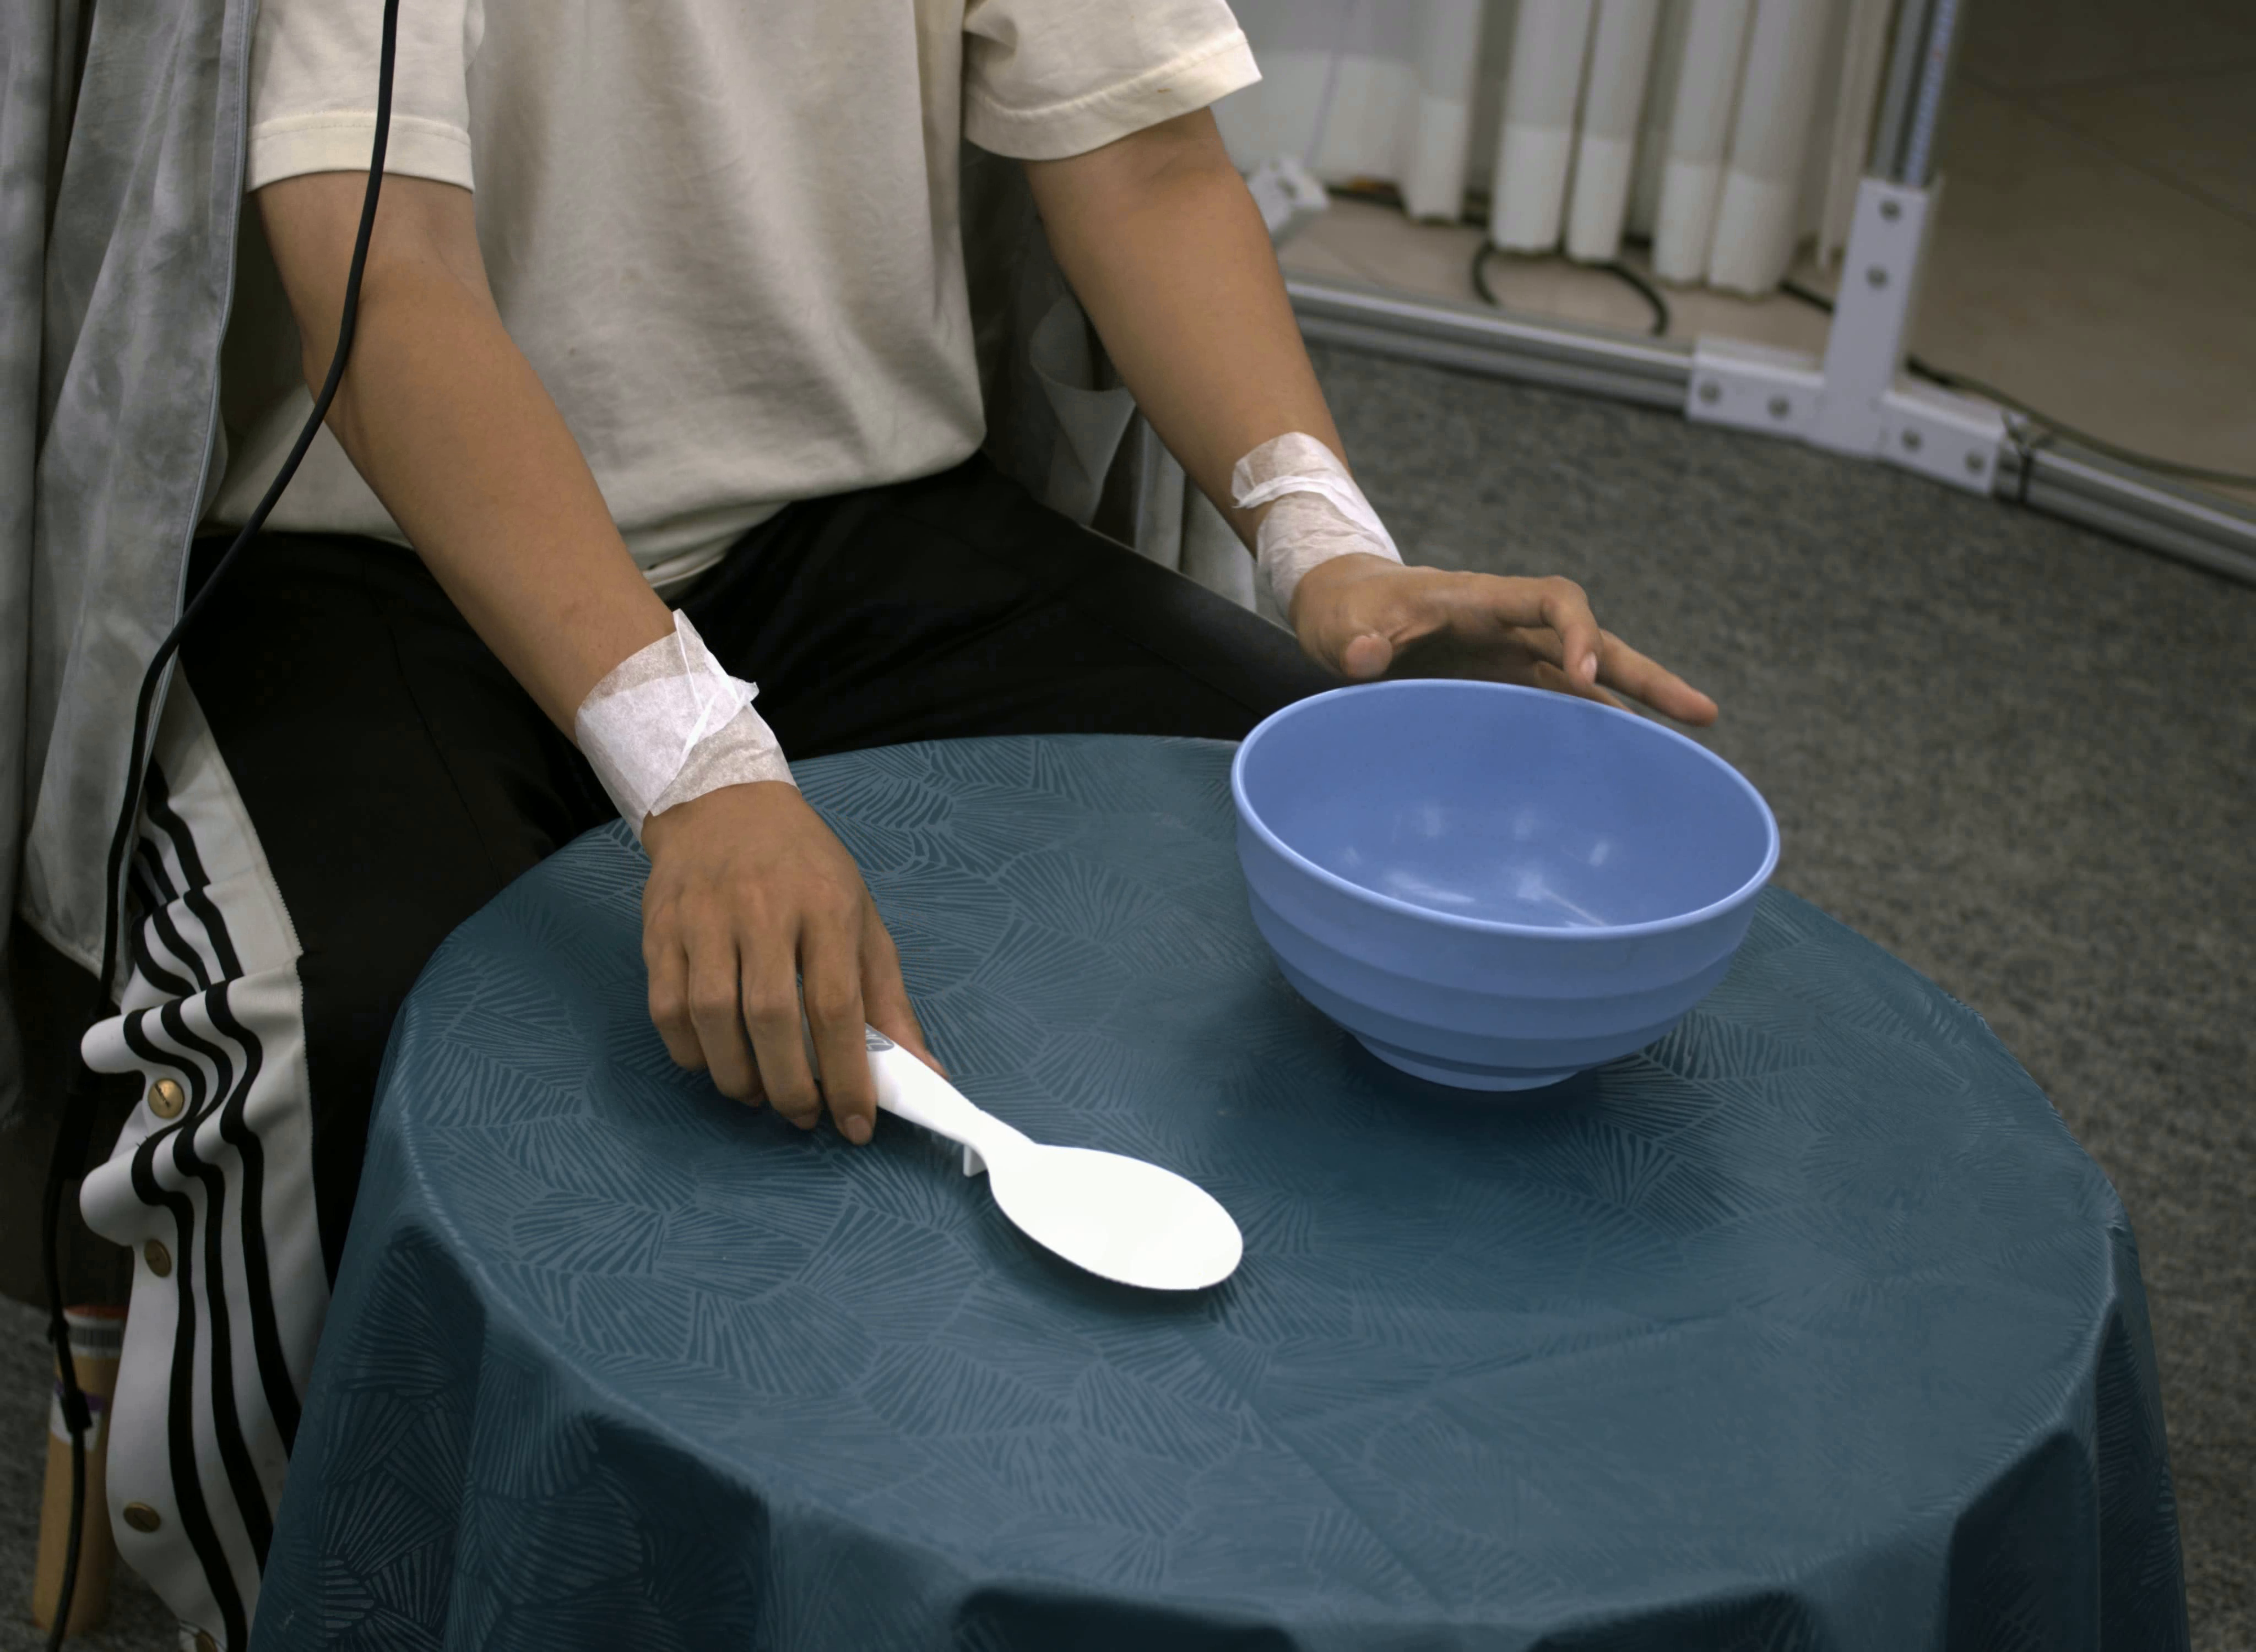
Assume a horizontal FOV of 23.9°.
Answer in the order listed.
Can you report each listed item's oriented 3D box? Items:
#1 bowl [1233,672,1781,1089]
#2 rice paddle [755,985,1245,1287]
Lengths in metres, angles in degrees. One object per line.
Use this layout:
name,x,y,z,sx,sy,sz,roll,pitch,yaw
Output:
bowl,0.129,0.030,1.910,0.196,0.095,0.198,5,28,-3
rice paddle,-0.044,0.106,1.796,0.207,0.029,0.068,27,34,35
